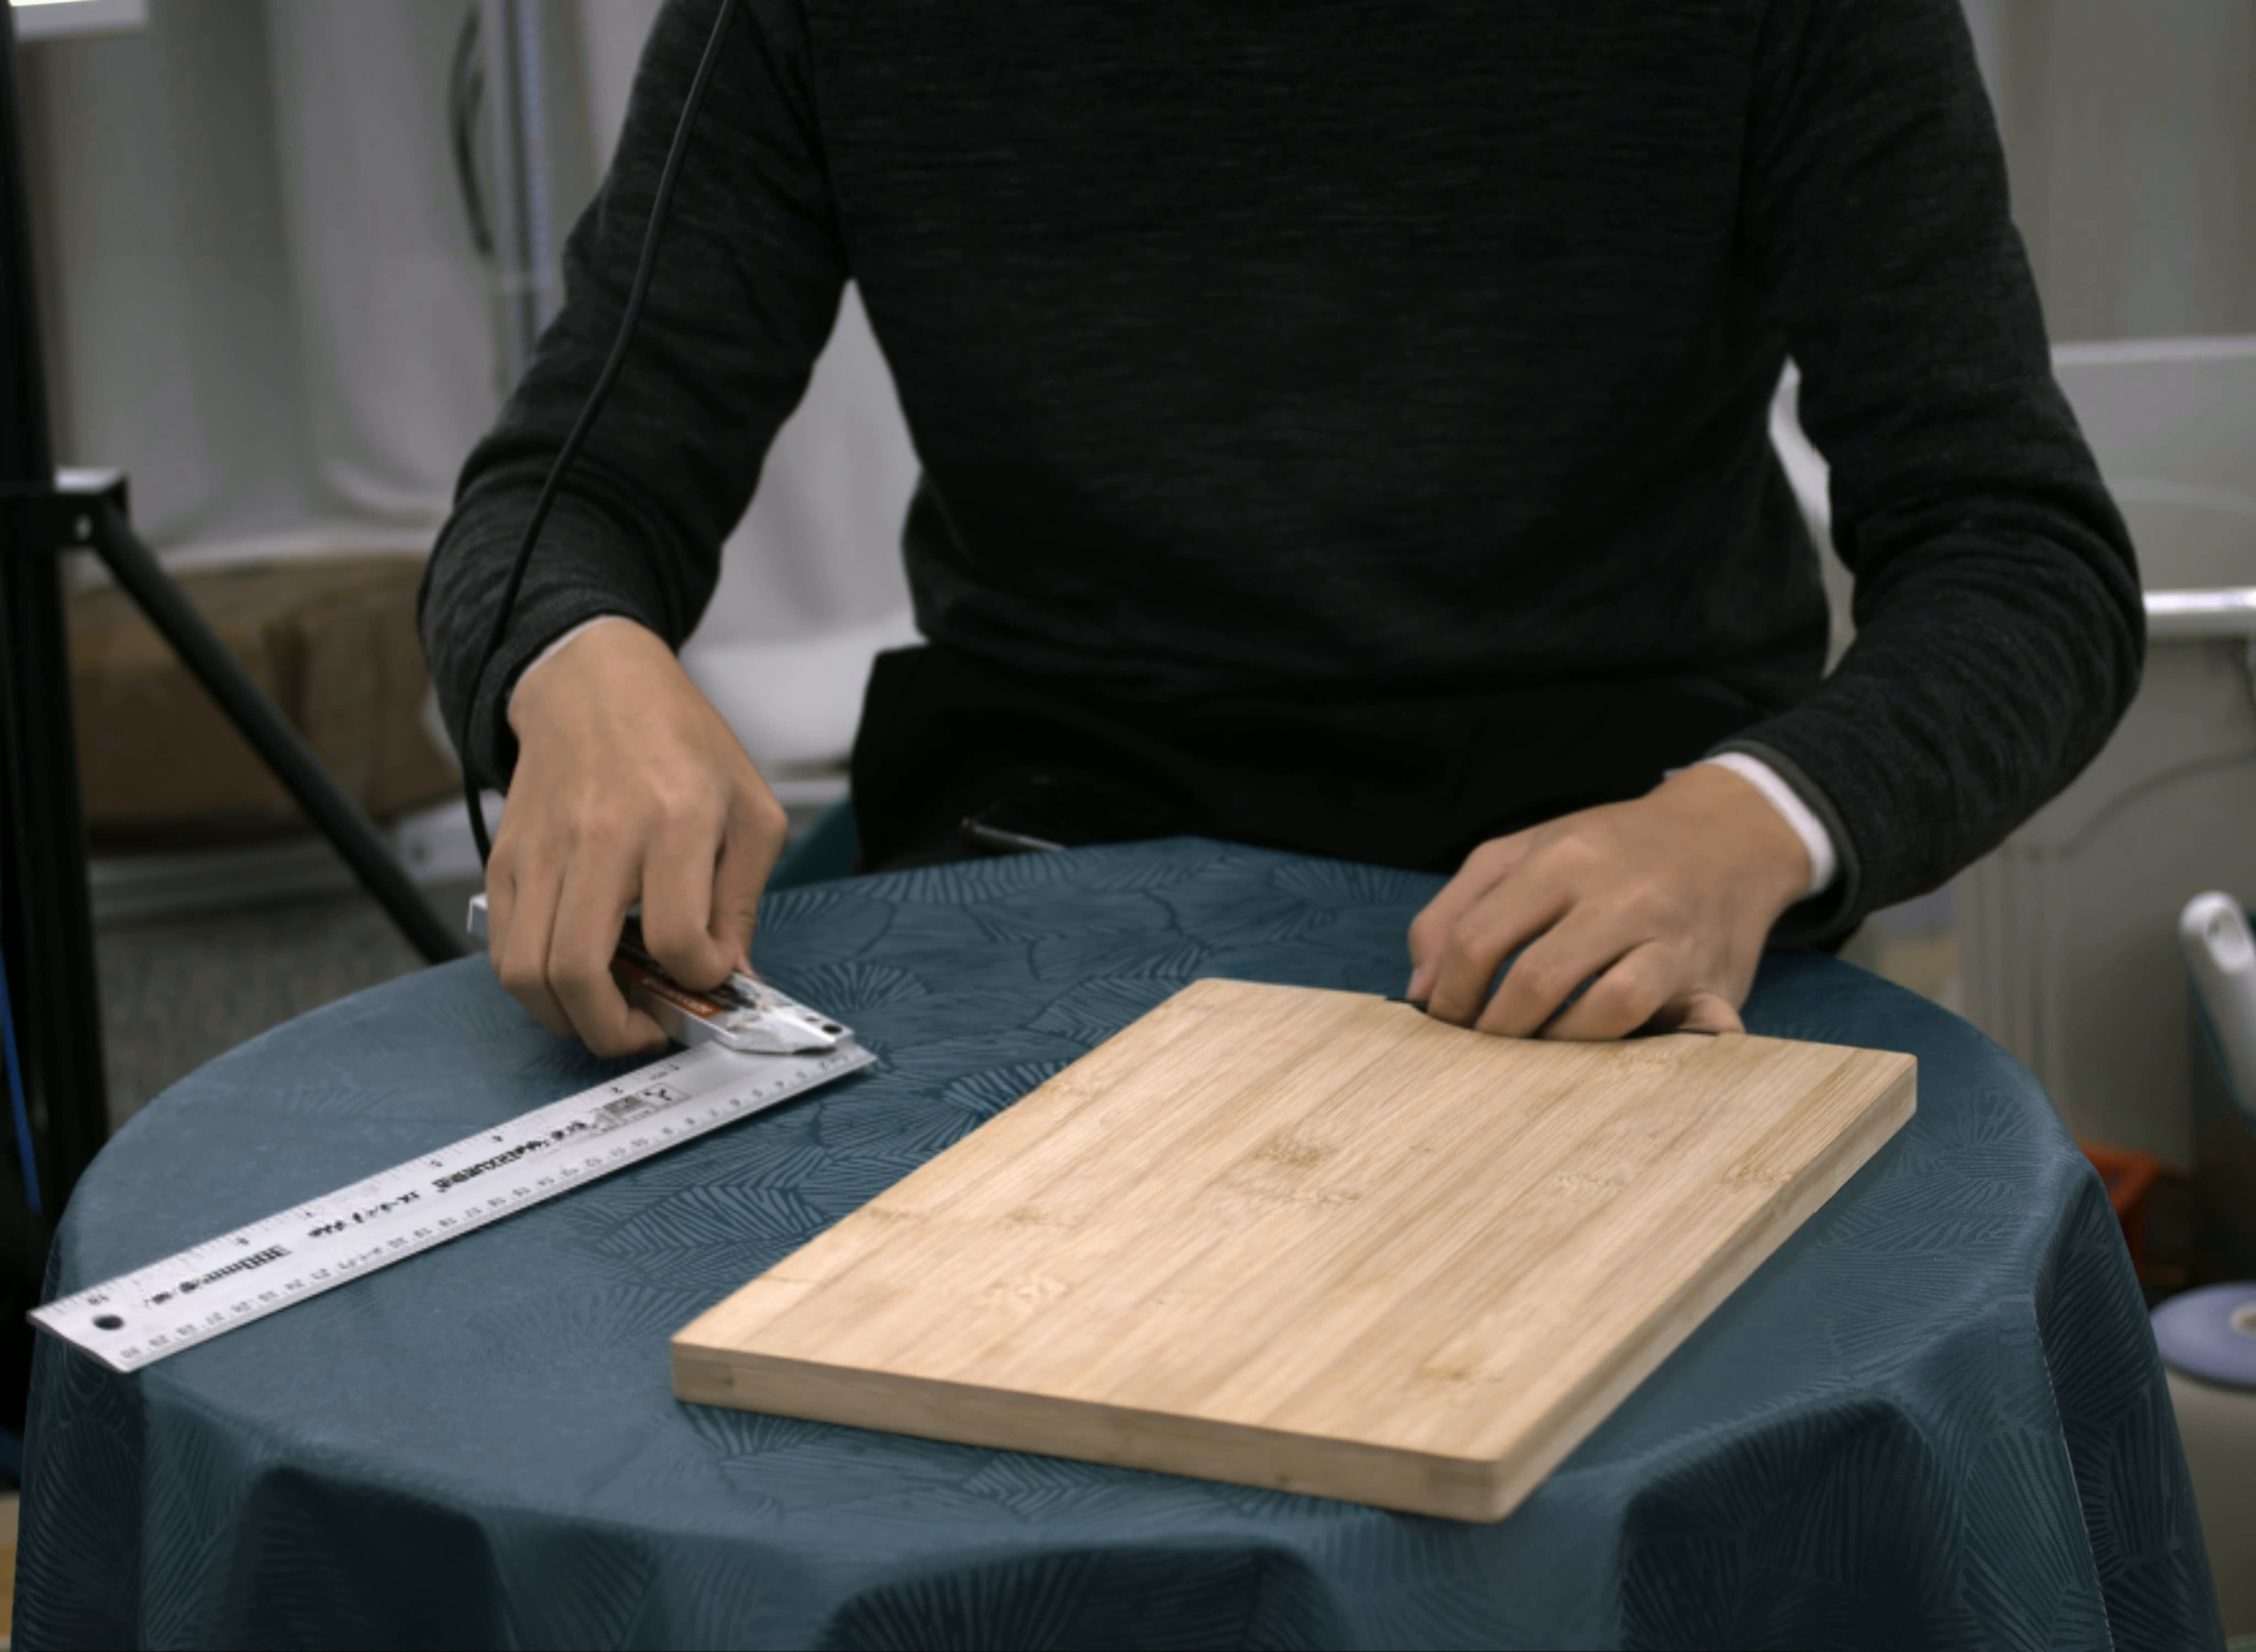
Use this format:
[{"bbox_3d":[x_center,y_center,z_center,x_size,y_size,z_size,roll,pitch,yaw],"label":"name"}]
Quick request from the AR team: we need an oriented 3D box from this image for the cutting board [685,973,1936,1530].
[{"bbox_3d":[0.062,0.111,1.507,0.254,0.023,0.343,5,18,25],"label":"cutting board"}]

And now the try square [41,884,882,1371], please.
[{"bbox_3d":[-0.230,0.086,1.611,0.155,0.016,0.306,23,29,35],"label":"try square"}]
